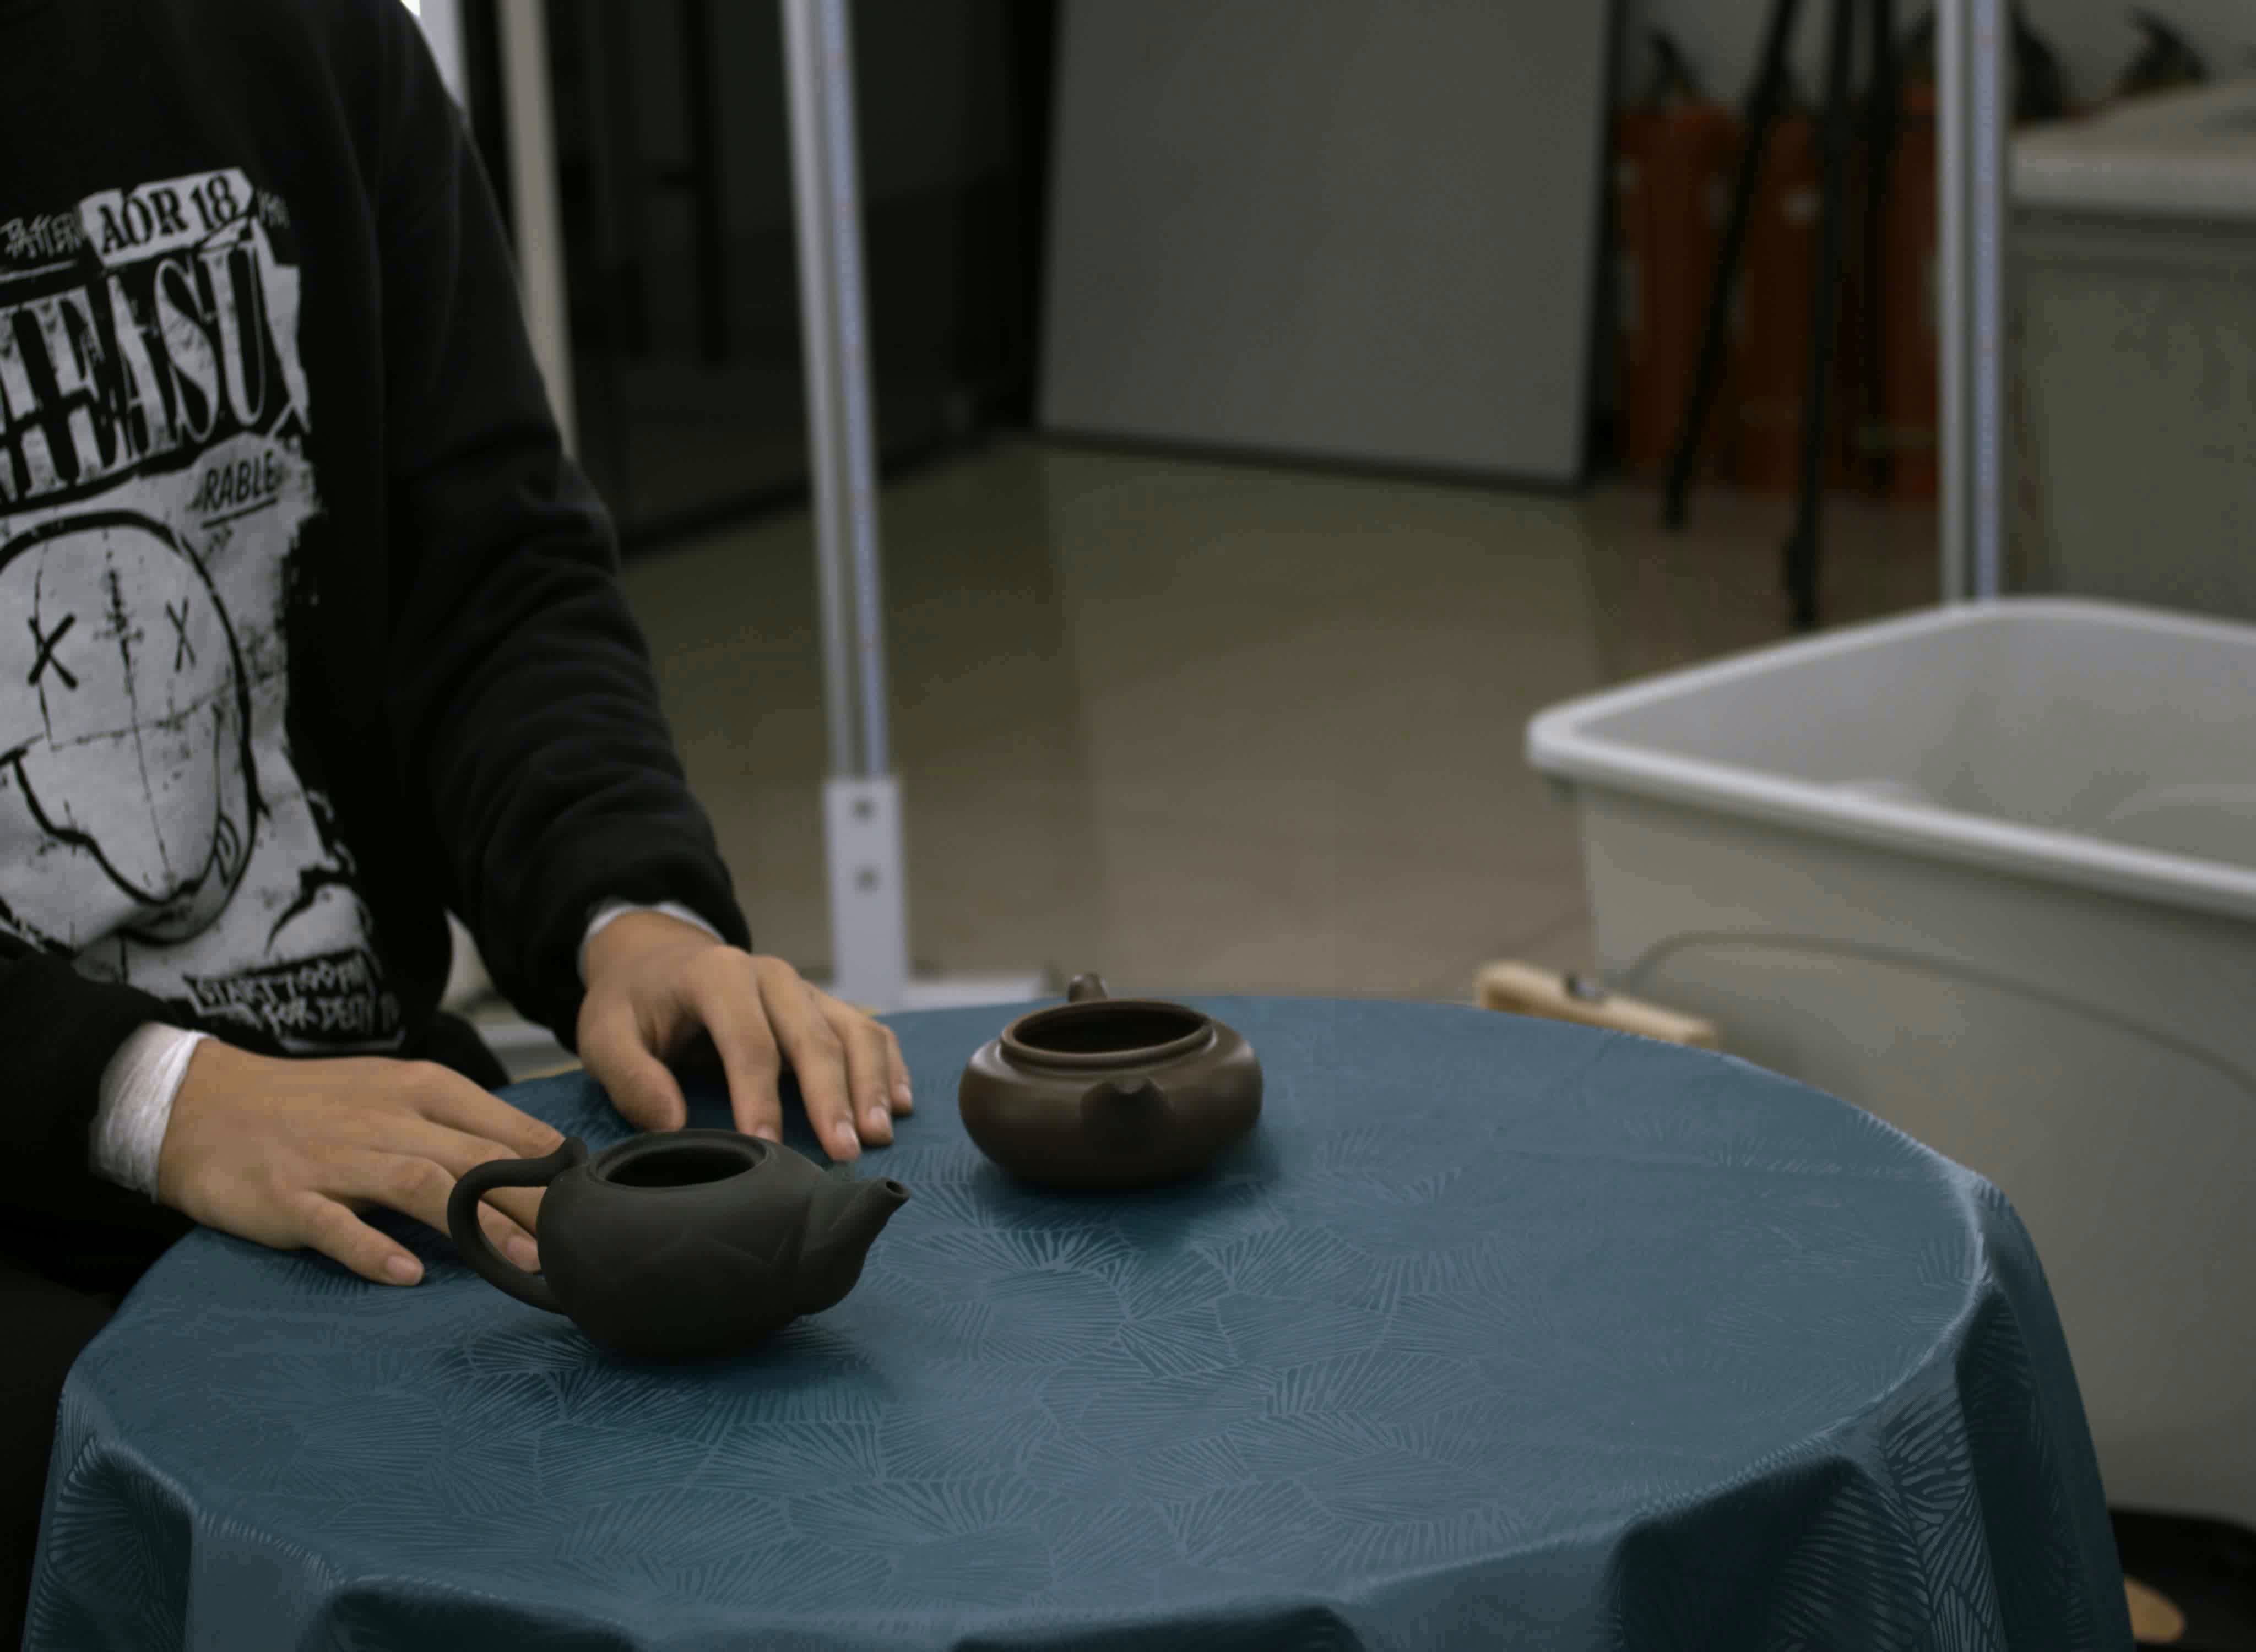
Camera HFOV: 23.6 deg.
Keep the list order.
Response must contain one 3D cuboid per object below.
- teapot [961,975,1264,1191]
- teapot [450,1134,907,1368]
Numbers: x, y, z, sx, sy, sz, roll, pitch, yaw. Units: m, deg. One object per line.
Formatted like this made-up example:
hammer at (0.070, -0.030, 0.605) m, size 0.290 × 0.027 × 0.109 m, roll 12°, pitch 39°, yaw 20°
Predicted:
teapot at (-0.006, 0.087, 1.802) m, size 0.101 × 0.054 × 0.154 m, roll -5°, pitch 14°, yaw -10°
teapot at (-0.138, 0.128, 1.657) m, size 0.154 × 0.065 × 0.091 m, roll 1°, pitch 13°, yaw 20°
